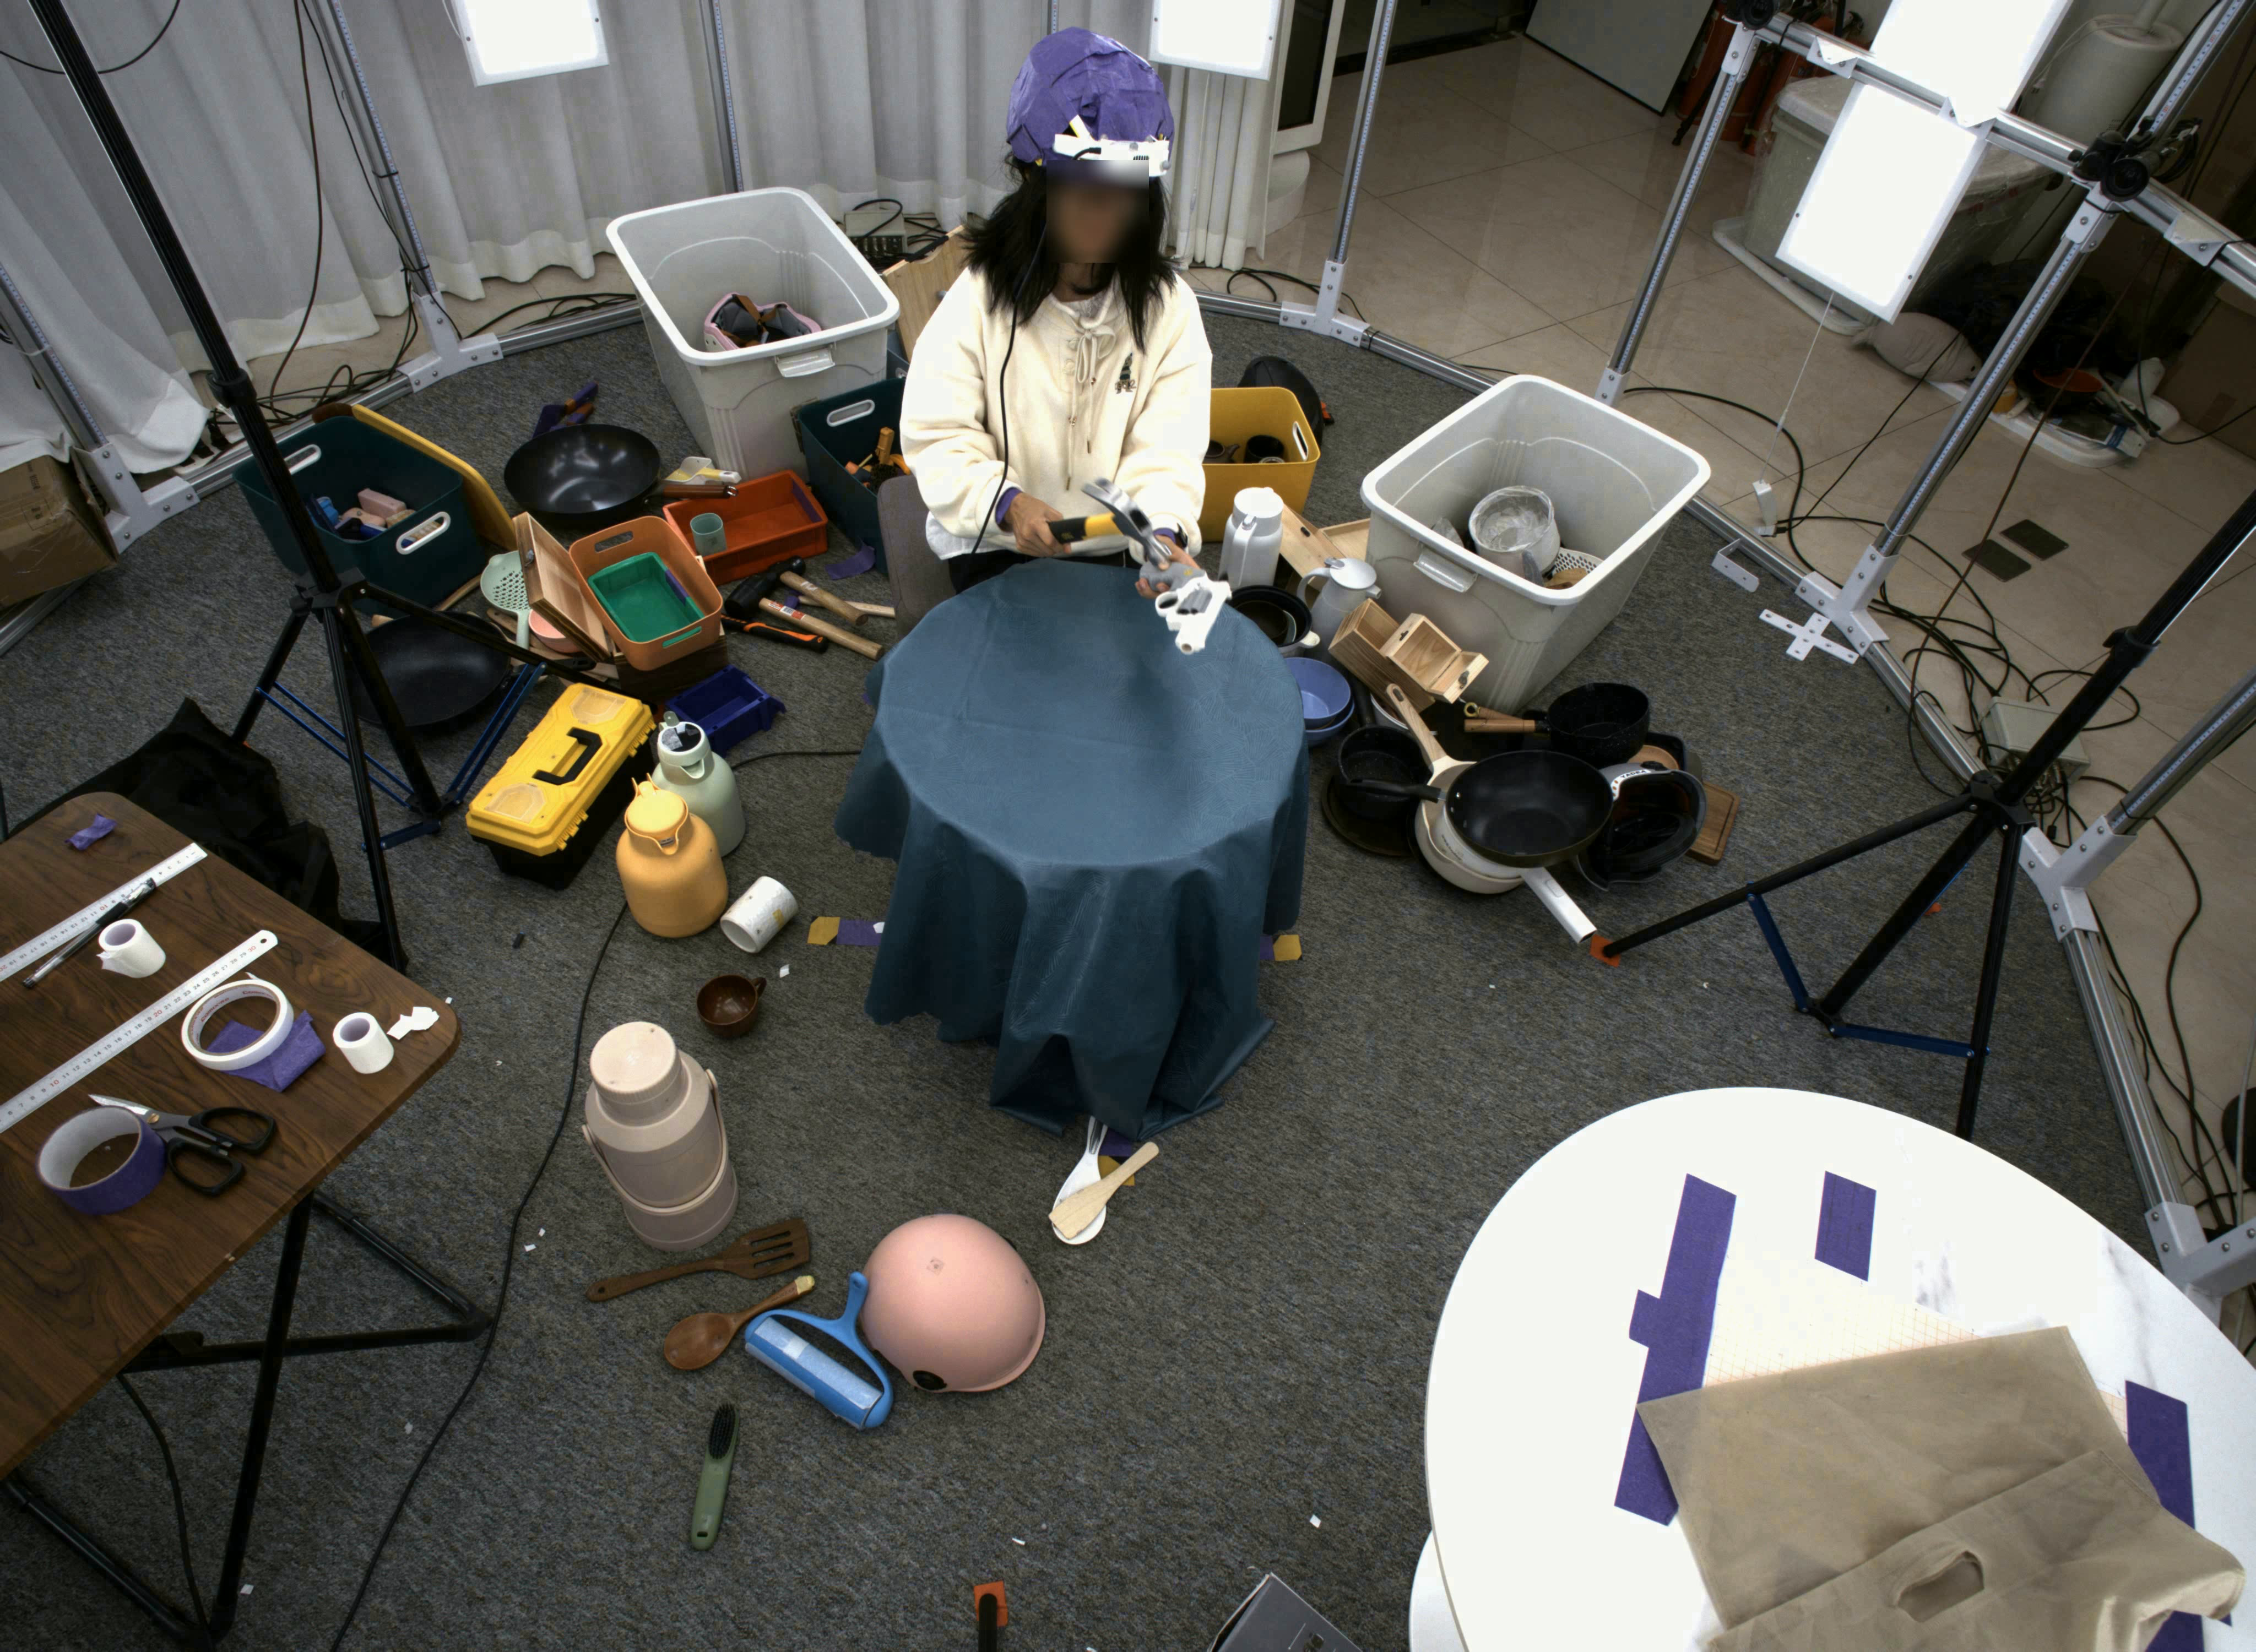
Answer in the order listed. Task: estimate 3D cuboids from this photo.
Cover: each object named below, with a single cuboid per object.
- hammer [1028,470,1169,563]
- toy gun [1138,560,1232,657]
[{"bbox_3d":[-0.062,-0.411,1.754,0.032,0.129,0.341,-47,23,-11],"label":"hammer"},{"bbox_3d":[0.064,-0.293,1.713,0.142,0.038,0.213,3,42,20],"label":"toy gun"}]
